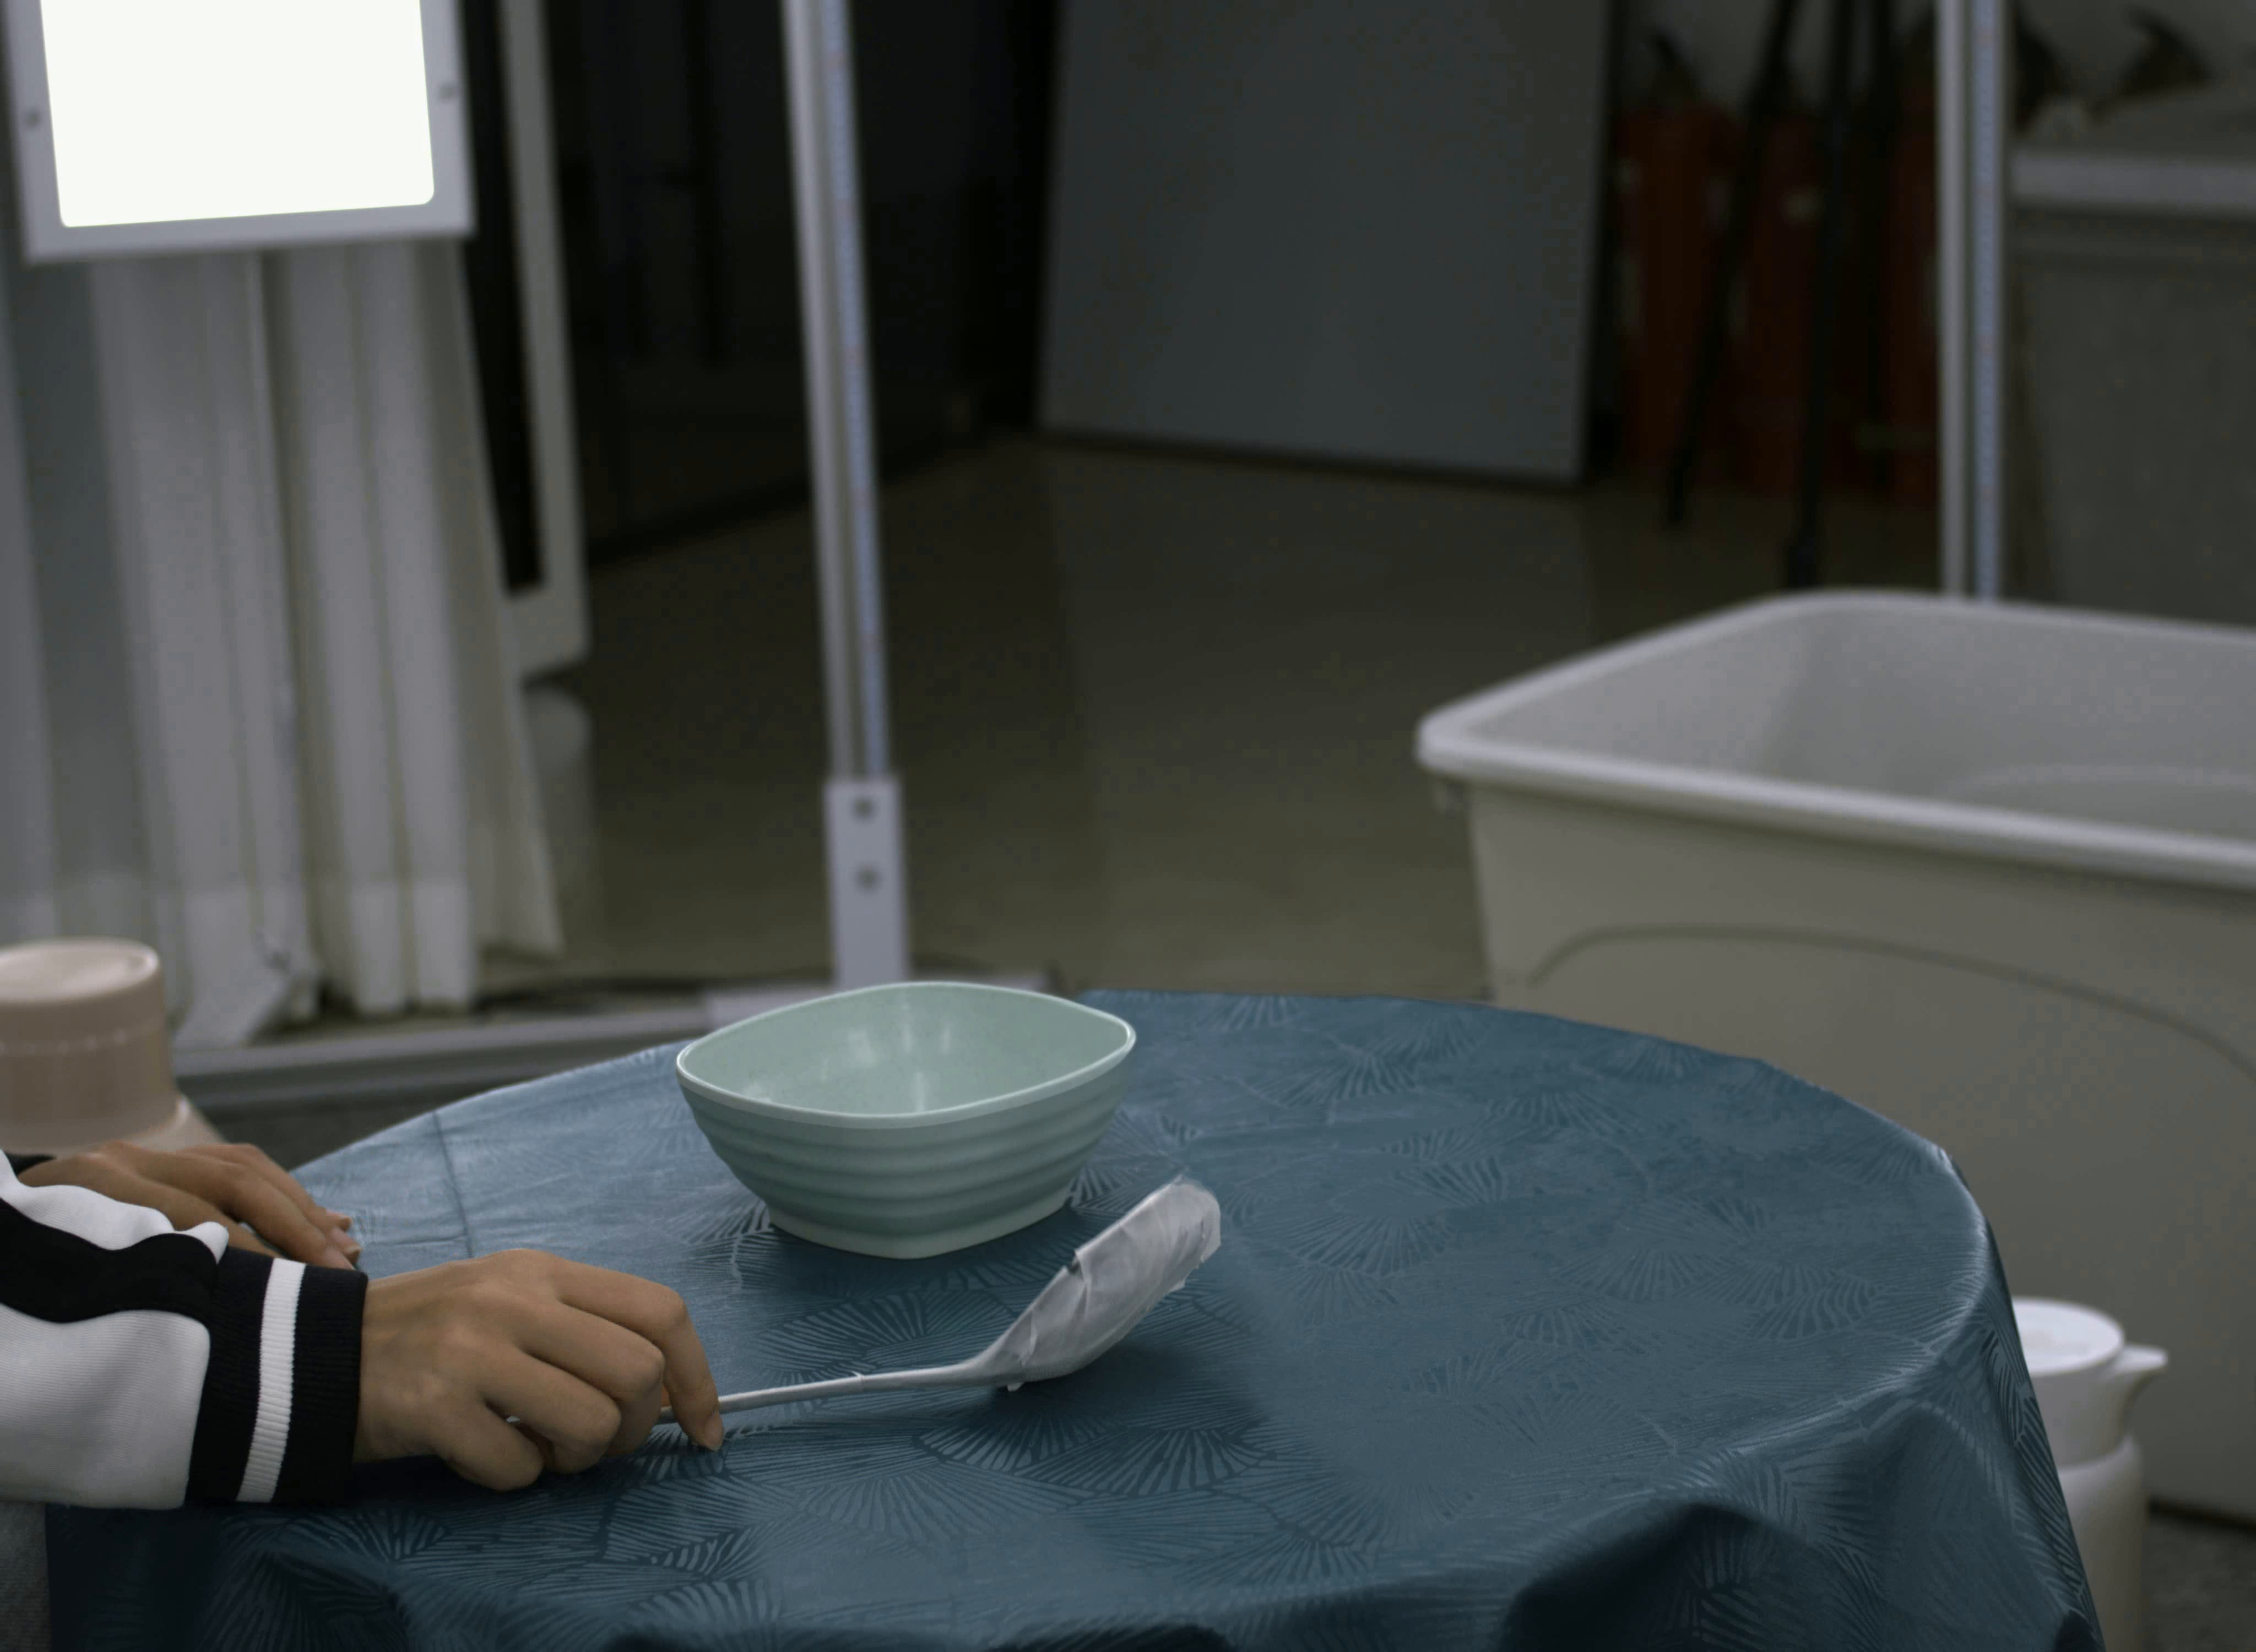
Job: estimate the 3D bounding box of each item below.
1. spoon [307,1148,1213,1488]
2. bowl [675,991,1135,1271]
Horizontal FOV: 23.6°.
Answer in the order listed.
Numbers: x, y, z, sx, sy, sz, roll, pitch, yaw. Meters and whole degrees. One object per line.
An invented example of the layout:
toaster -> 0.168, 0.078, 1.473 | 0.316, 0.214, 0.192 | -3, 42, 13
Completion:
spoon -> -0.106, 0.147, 1.589 | 0.274, 0.060, 0.100 | -9, -26, 0
bowl -> -0.071, 0.102, 1.757 | 0.149, 0.059, 0.152 | -4, 14, 0
